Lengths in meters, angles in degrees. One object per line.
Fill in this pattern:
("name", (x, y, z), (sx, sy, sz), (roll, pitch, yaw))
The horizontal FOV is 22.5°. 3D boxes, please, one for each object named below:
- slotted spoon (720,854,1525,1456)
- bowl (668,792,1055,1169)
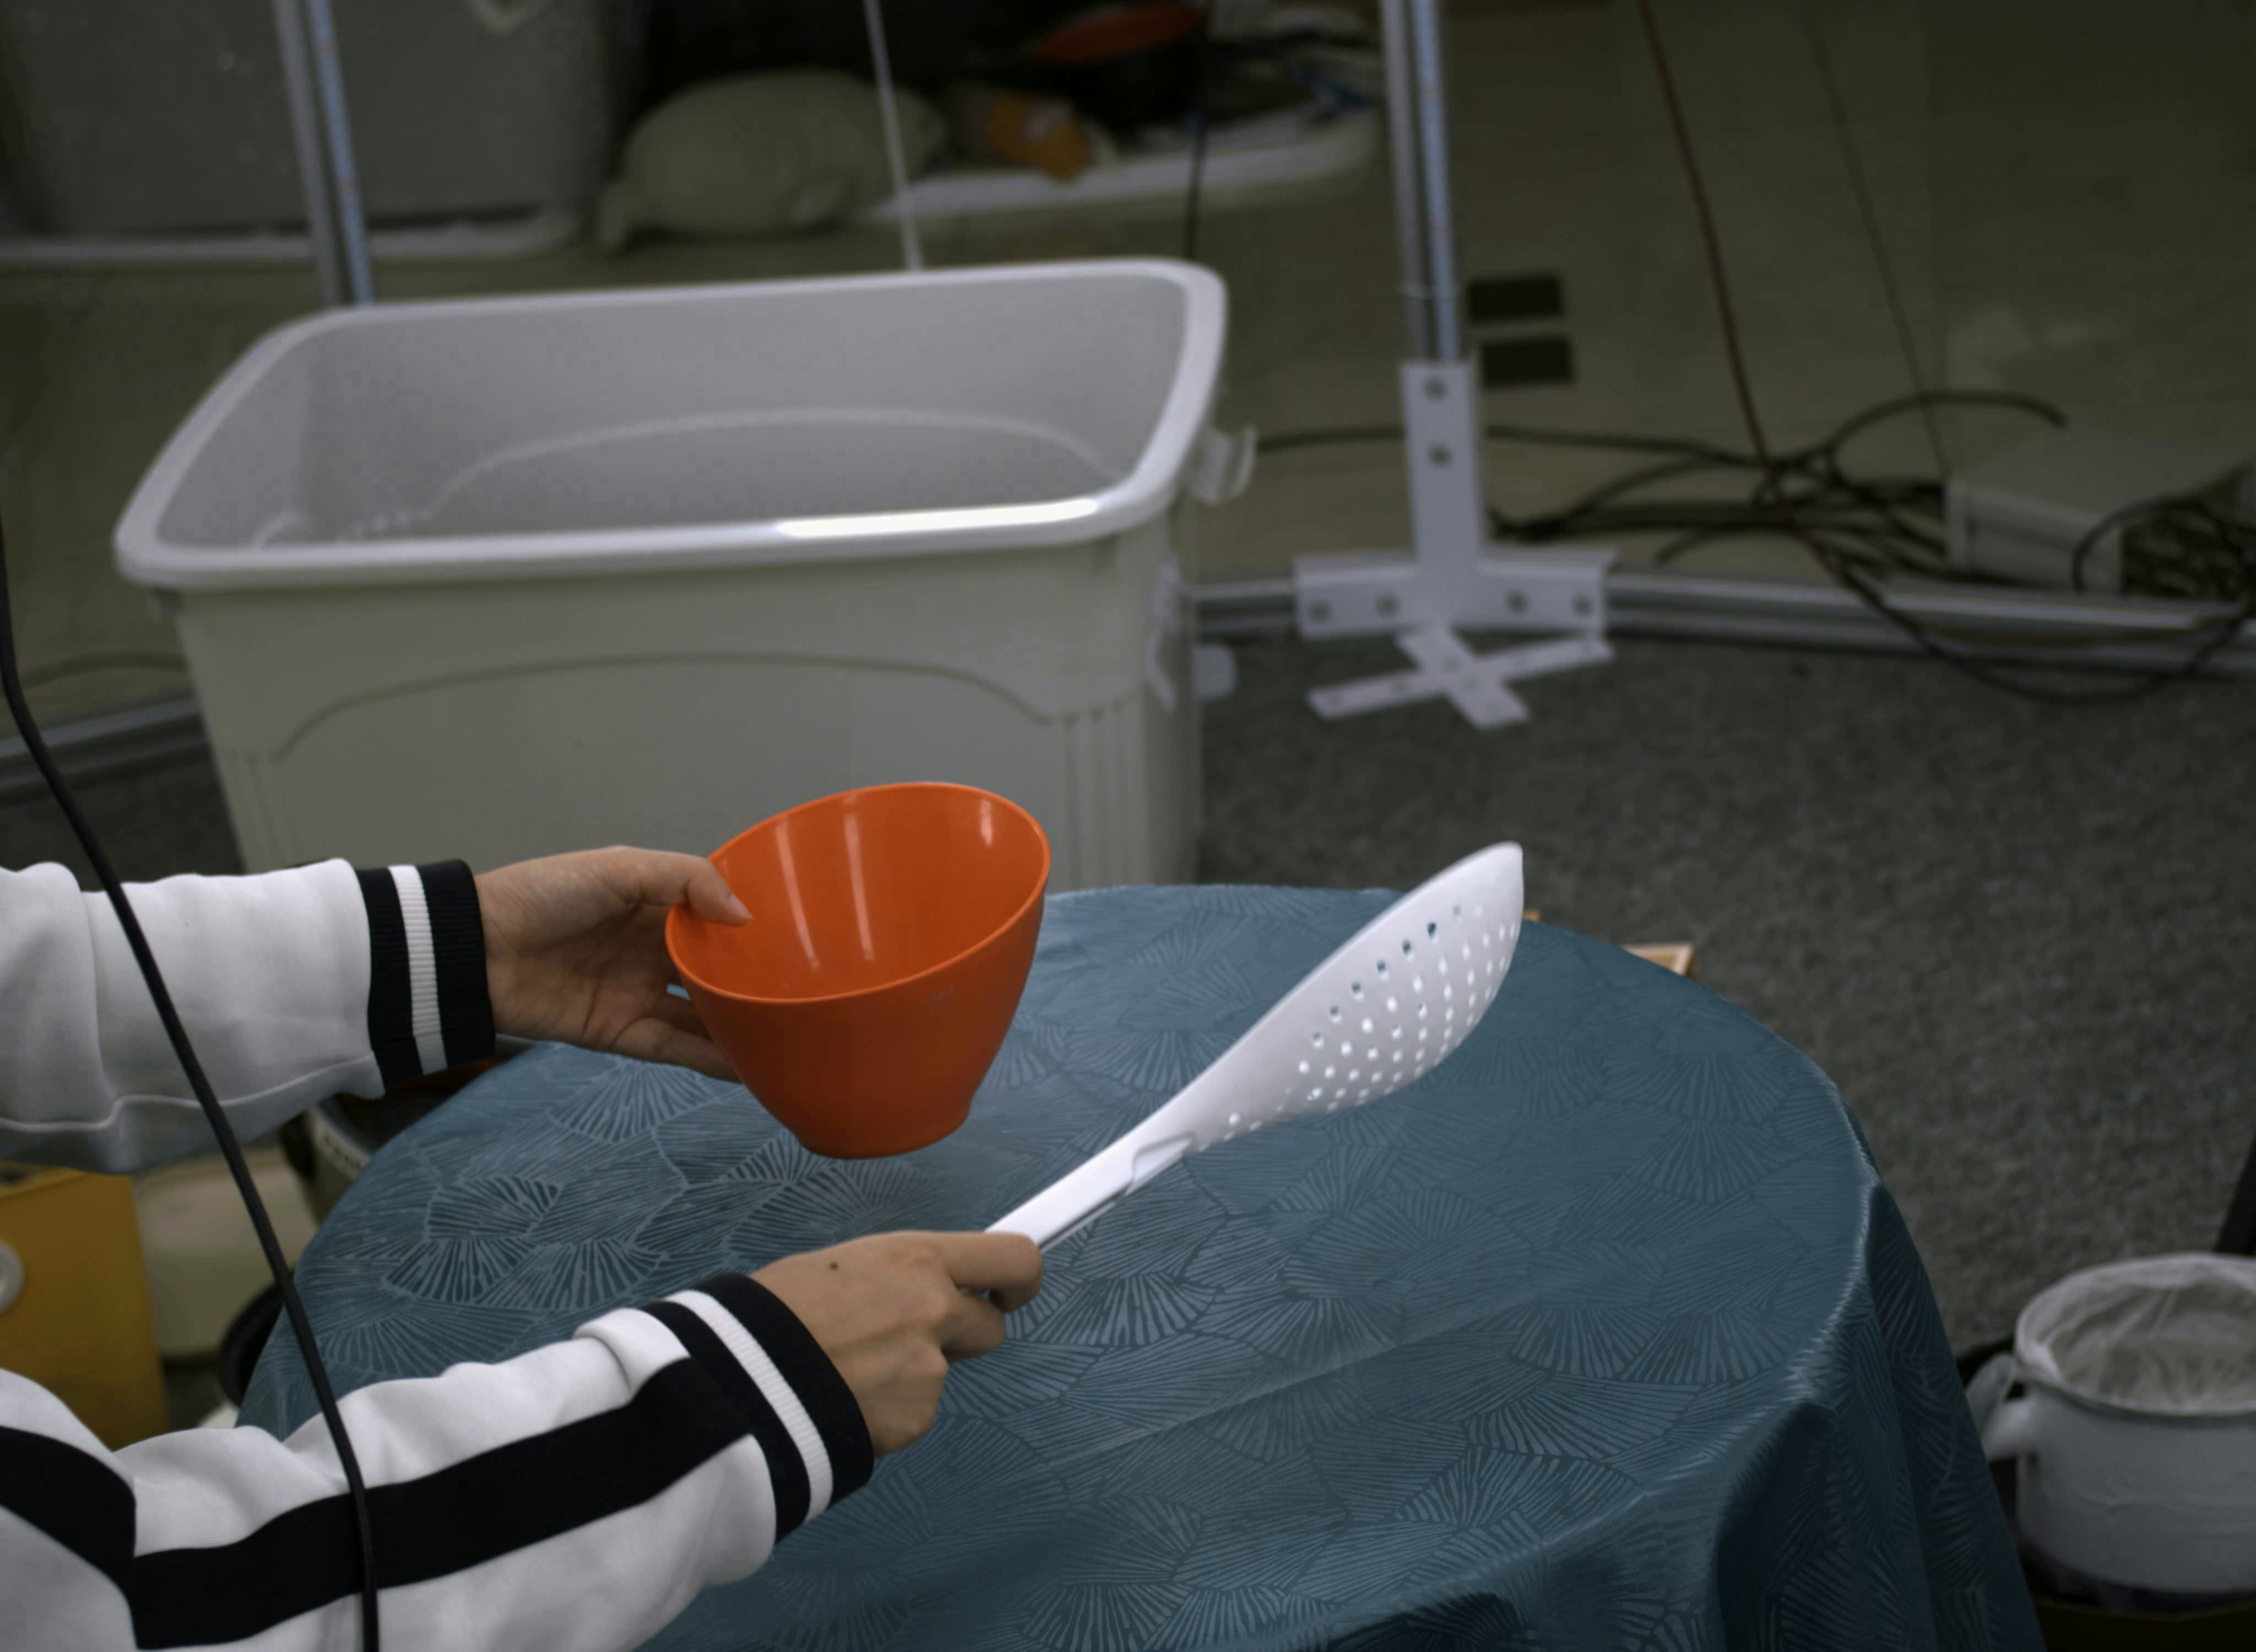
("slotted spoon", (0.004, 0.112, 1.923), (0.347, 0.138, 0.045), (-28, 75, -22))
("bowl", (-0.095, 0.064, 2.136), (0.148, 0.106, 0.146), (-6, 23, 3))
